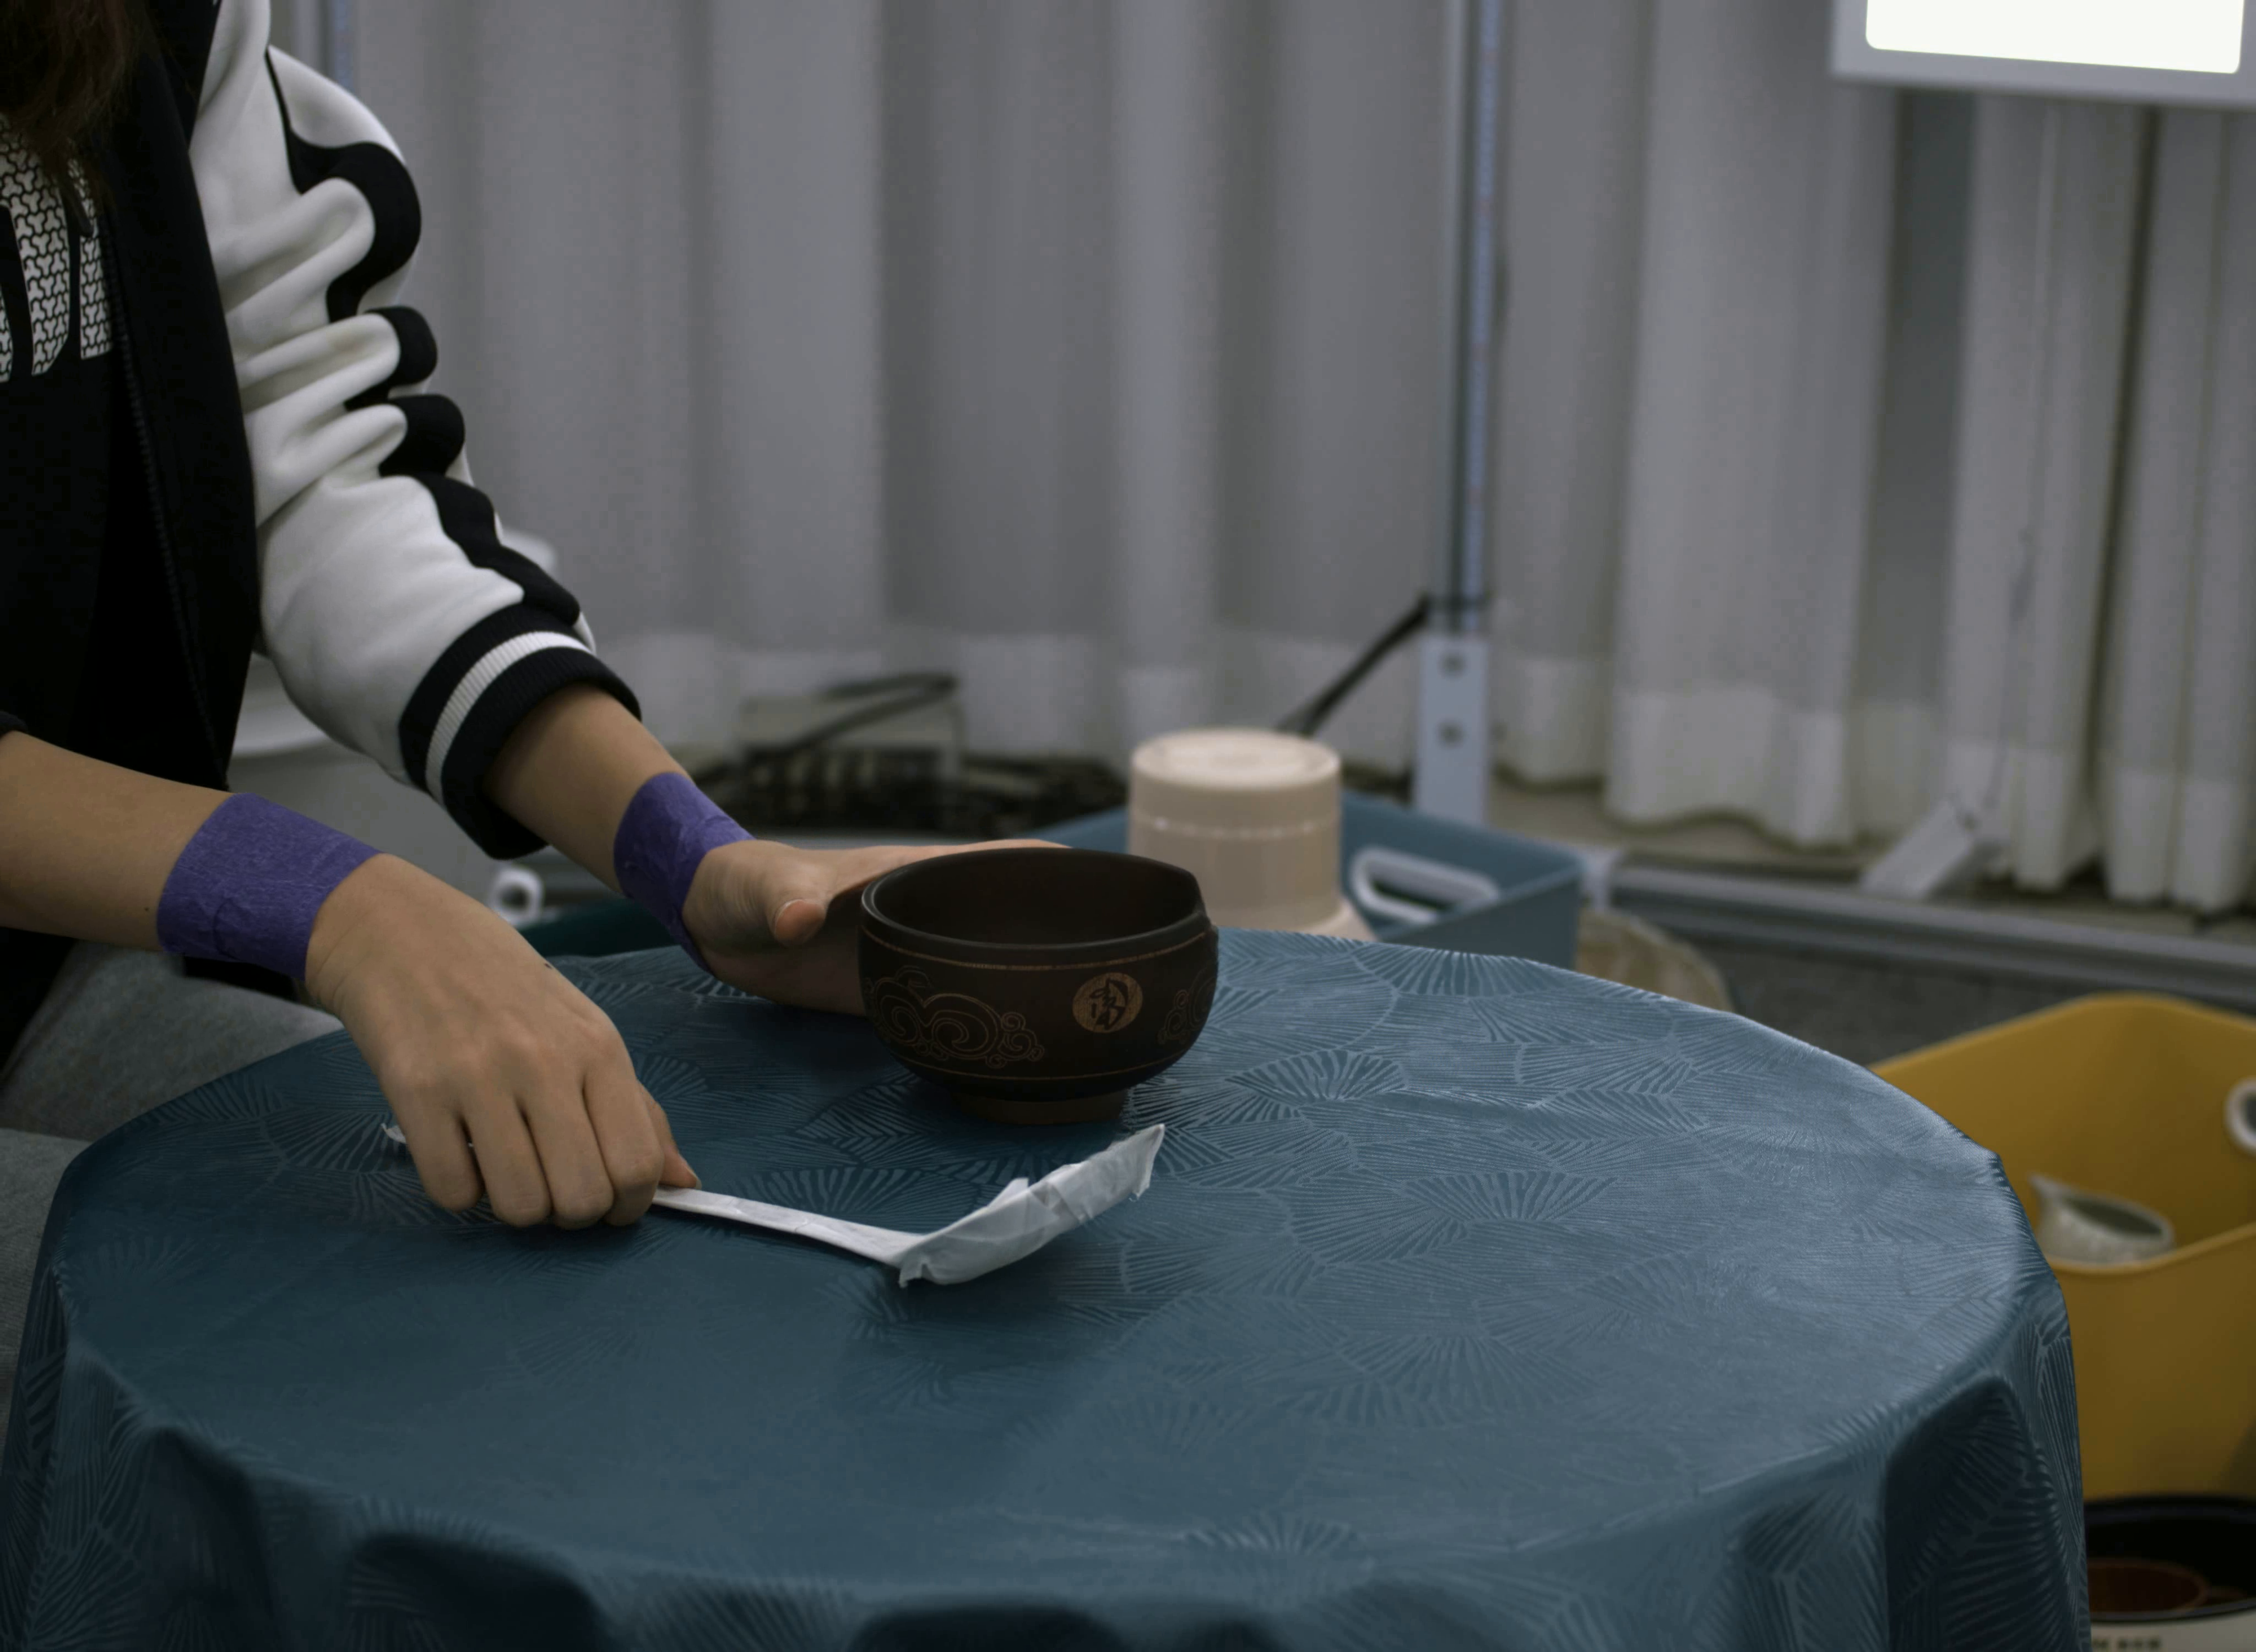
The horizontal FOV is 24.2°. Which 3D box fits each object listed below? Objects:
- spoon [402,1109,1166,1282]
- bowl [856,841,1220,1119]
[{"bbox_3d":[-0.110,0.090,1.587,0.274,0.060,0.101,12,15,33],"label":"spoon"},{"bbox_3d":[-0.029,0.053,1.696,0.117,0.070,0.117,1,15,0],"label":"bowl"}]
